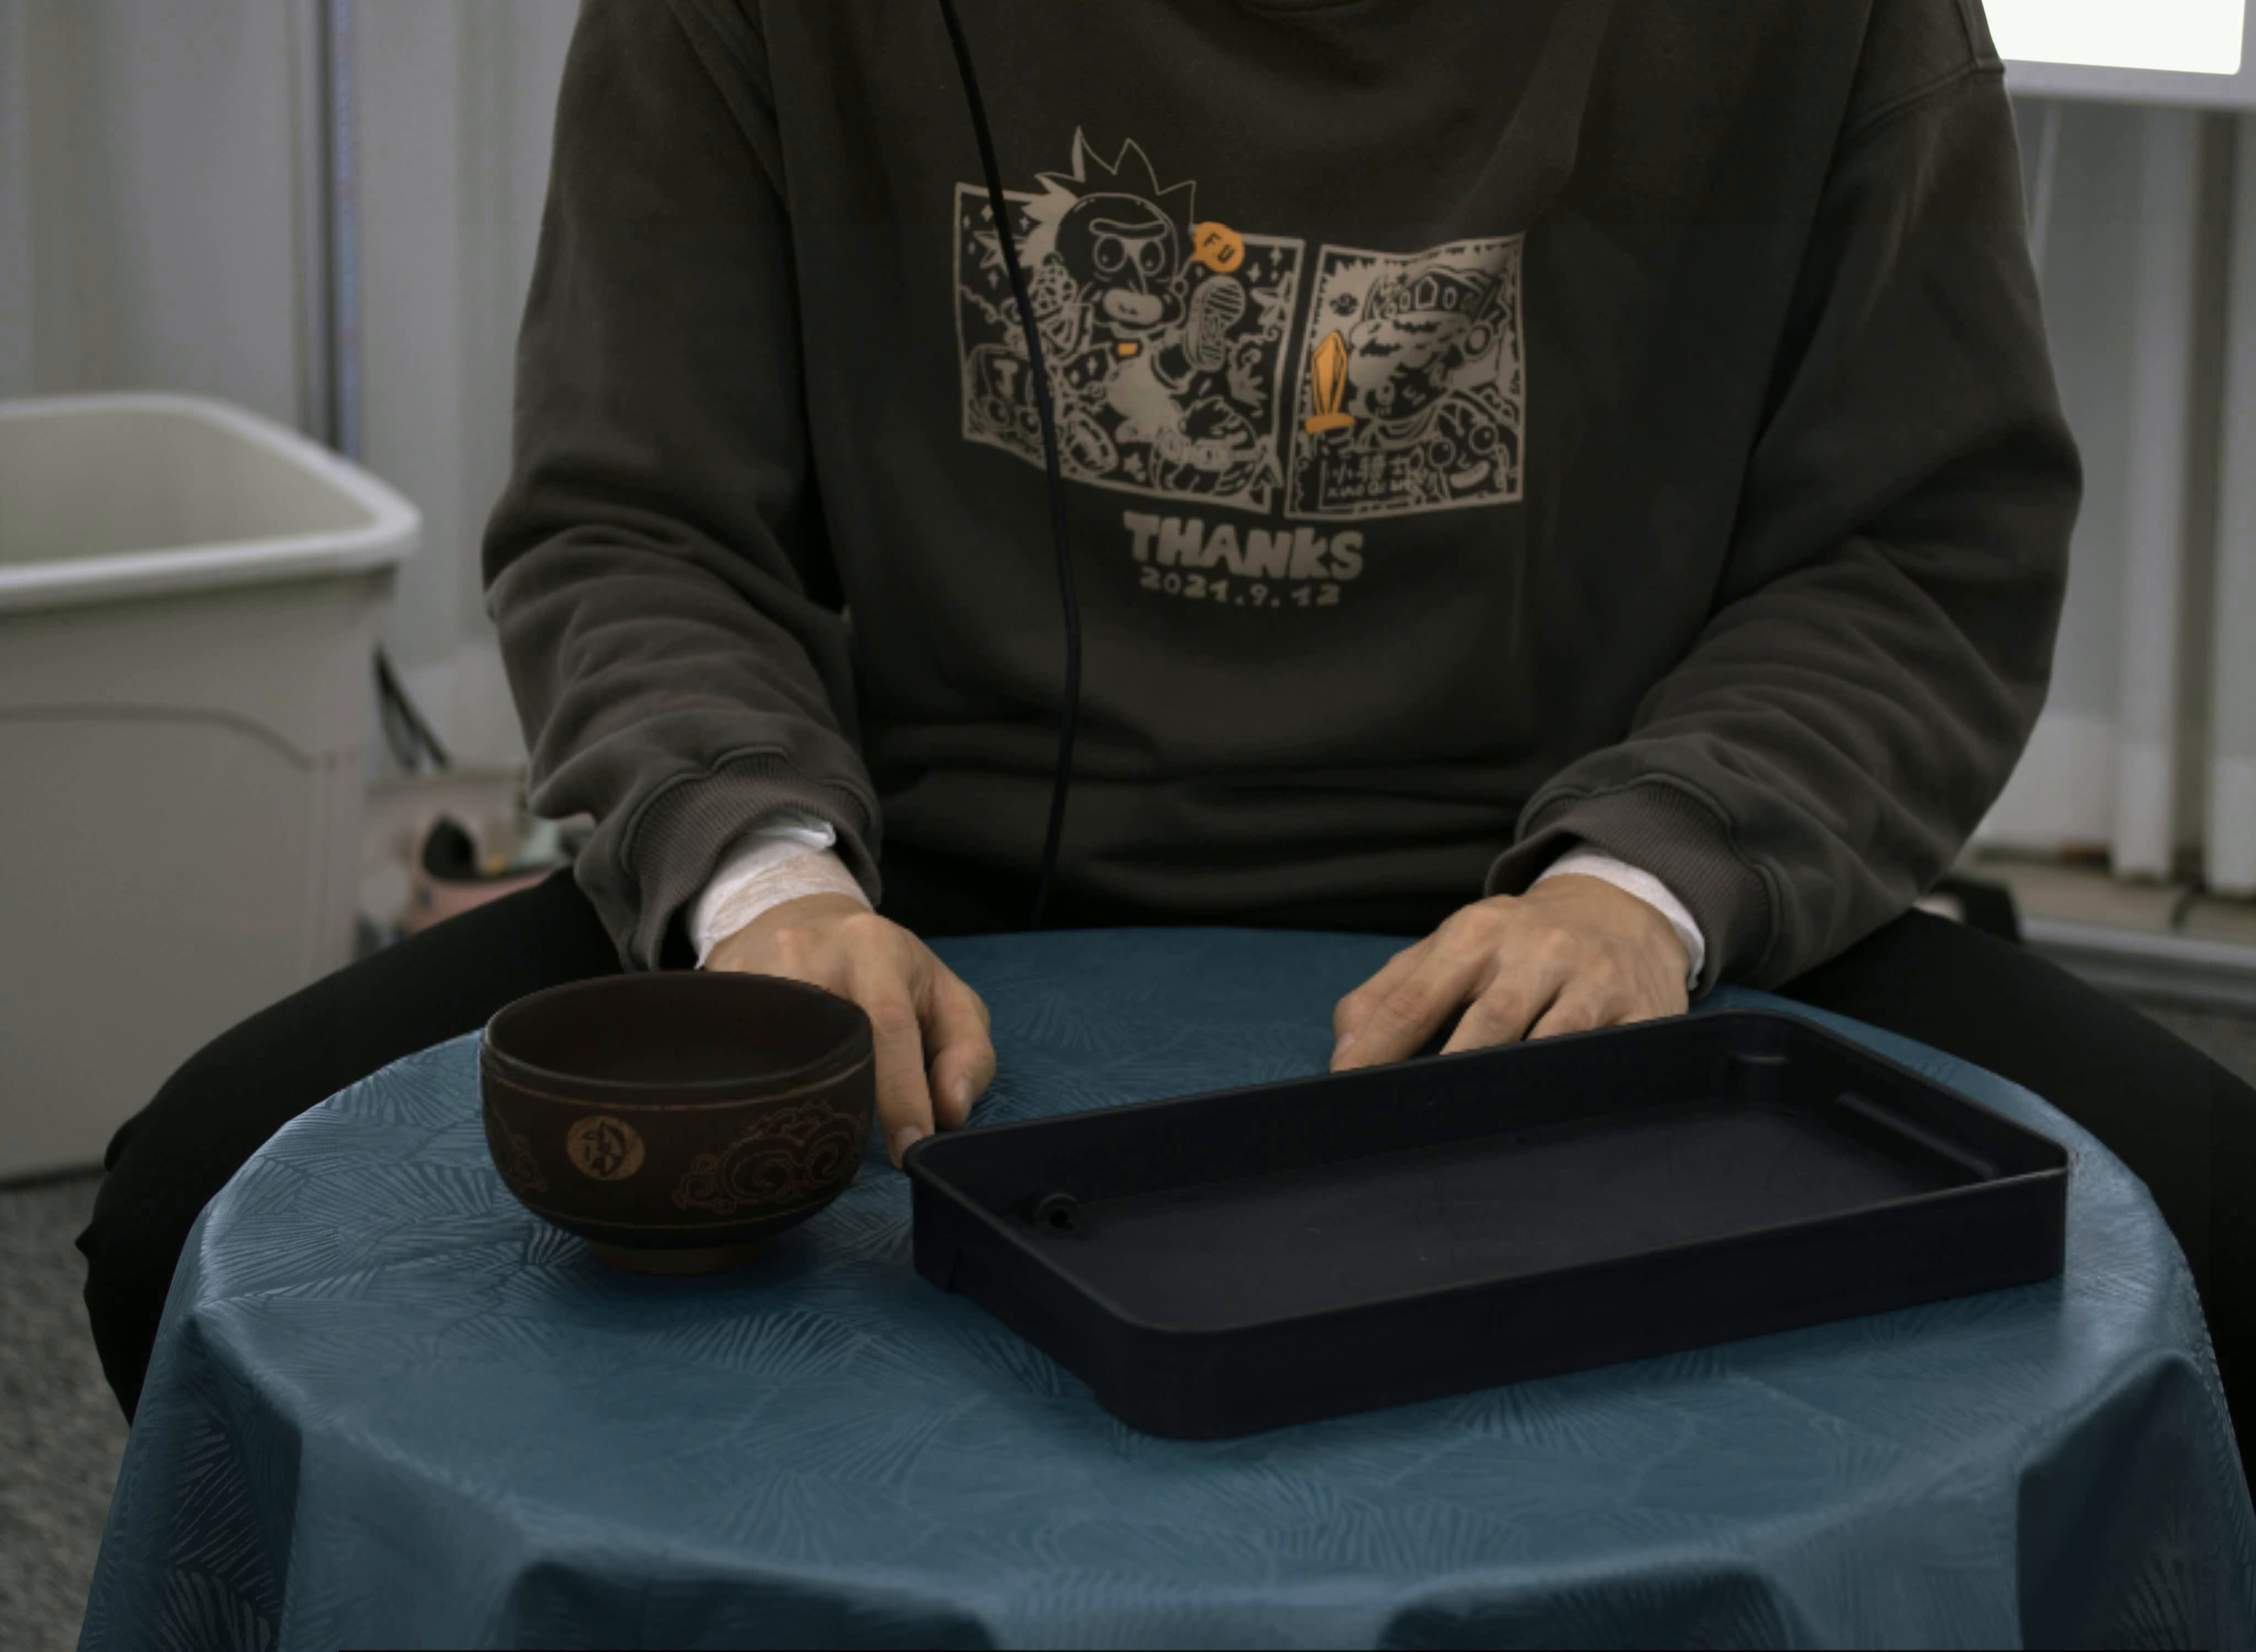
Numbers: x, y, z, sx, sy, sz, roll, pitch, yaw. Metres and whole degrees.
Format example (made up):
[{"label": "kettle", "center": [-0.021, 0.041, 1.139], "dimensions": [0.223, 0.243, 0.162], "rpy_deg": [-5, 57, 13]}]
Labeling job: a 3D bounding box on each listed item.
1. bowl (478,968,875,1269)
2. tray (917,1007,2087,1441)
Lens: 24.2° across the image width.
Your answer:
[{"label": "bowl", "center": [-0.134, 0.090, 1.570], "dimensions": [0.117, 0.070, 0.117], "rpy_deg": [1, 14, 0]}, {"label": "tray", "center": [0.112, 0.113, 1.567], "dimensions": [0.319, 0.037, 0.182], "rpy_deg": [-8, 17, -28]}]
